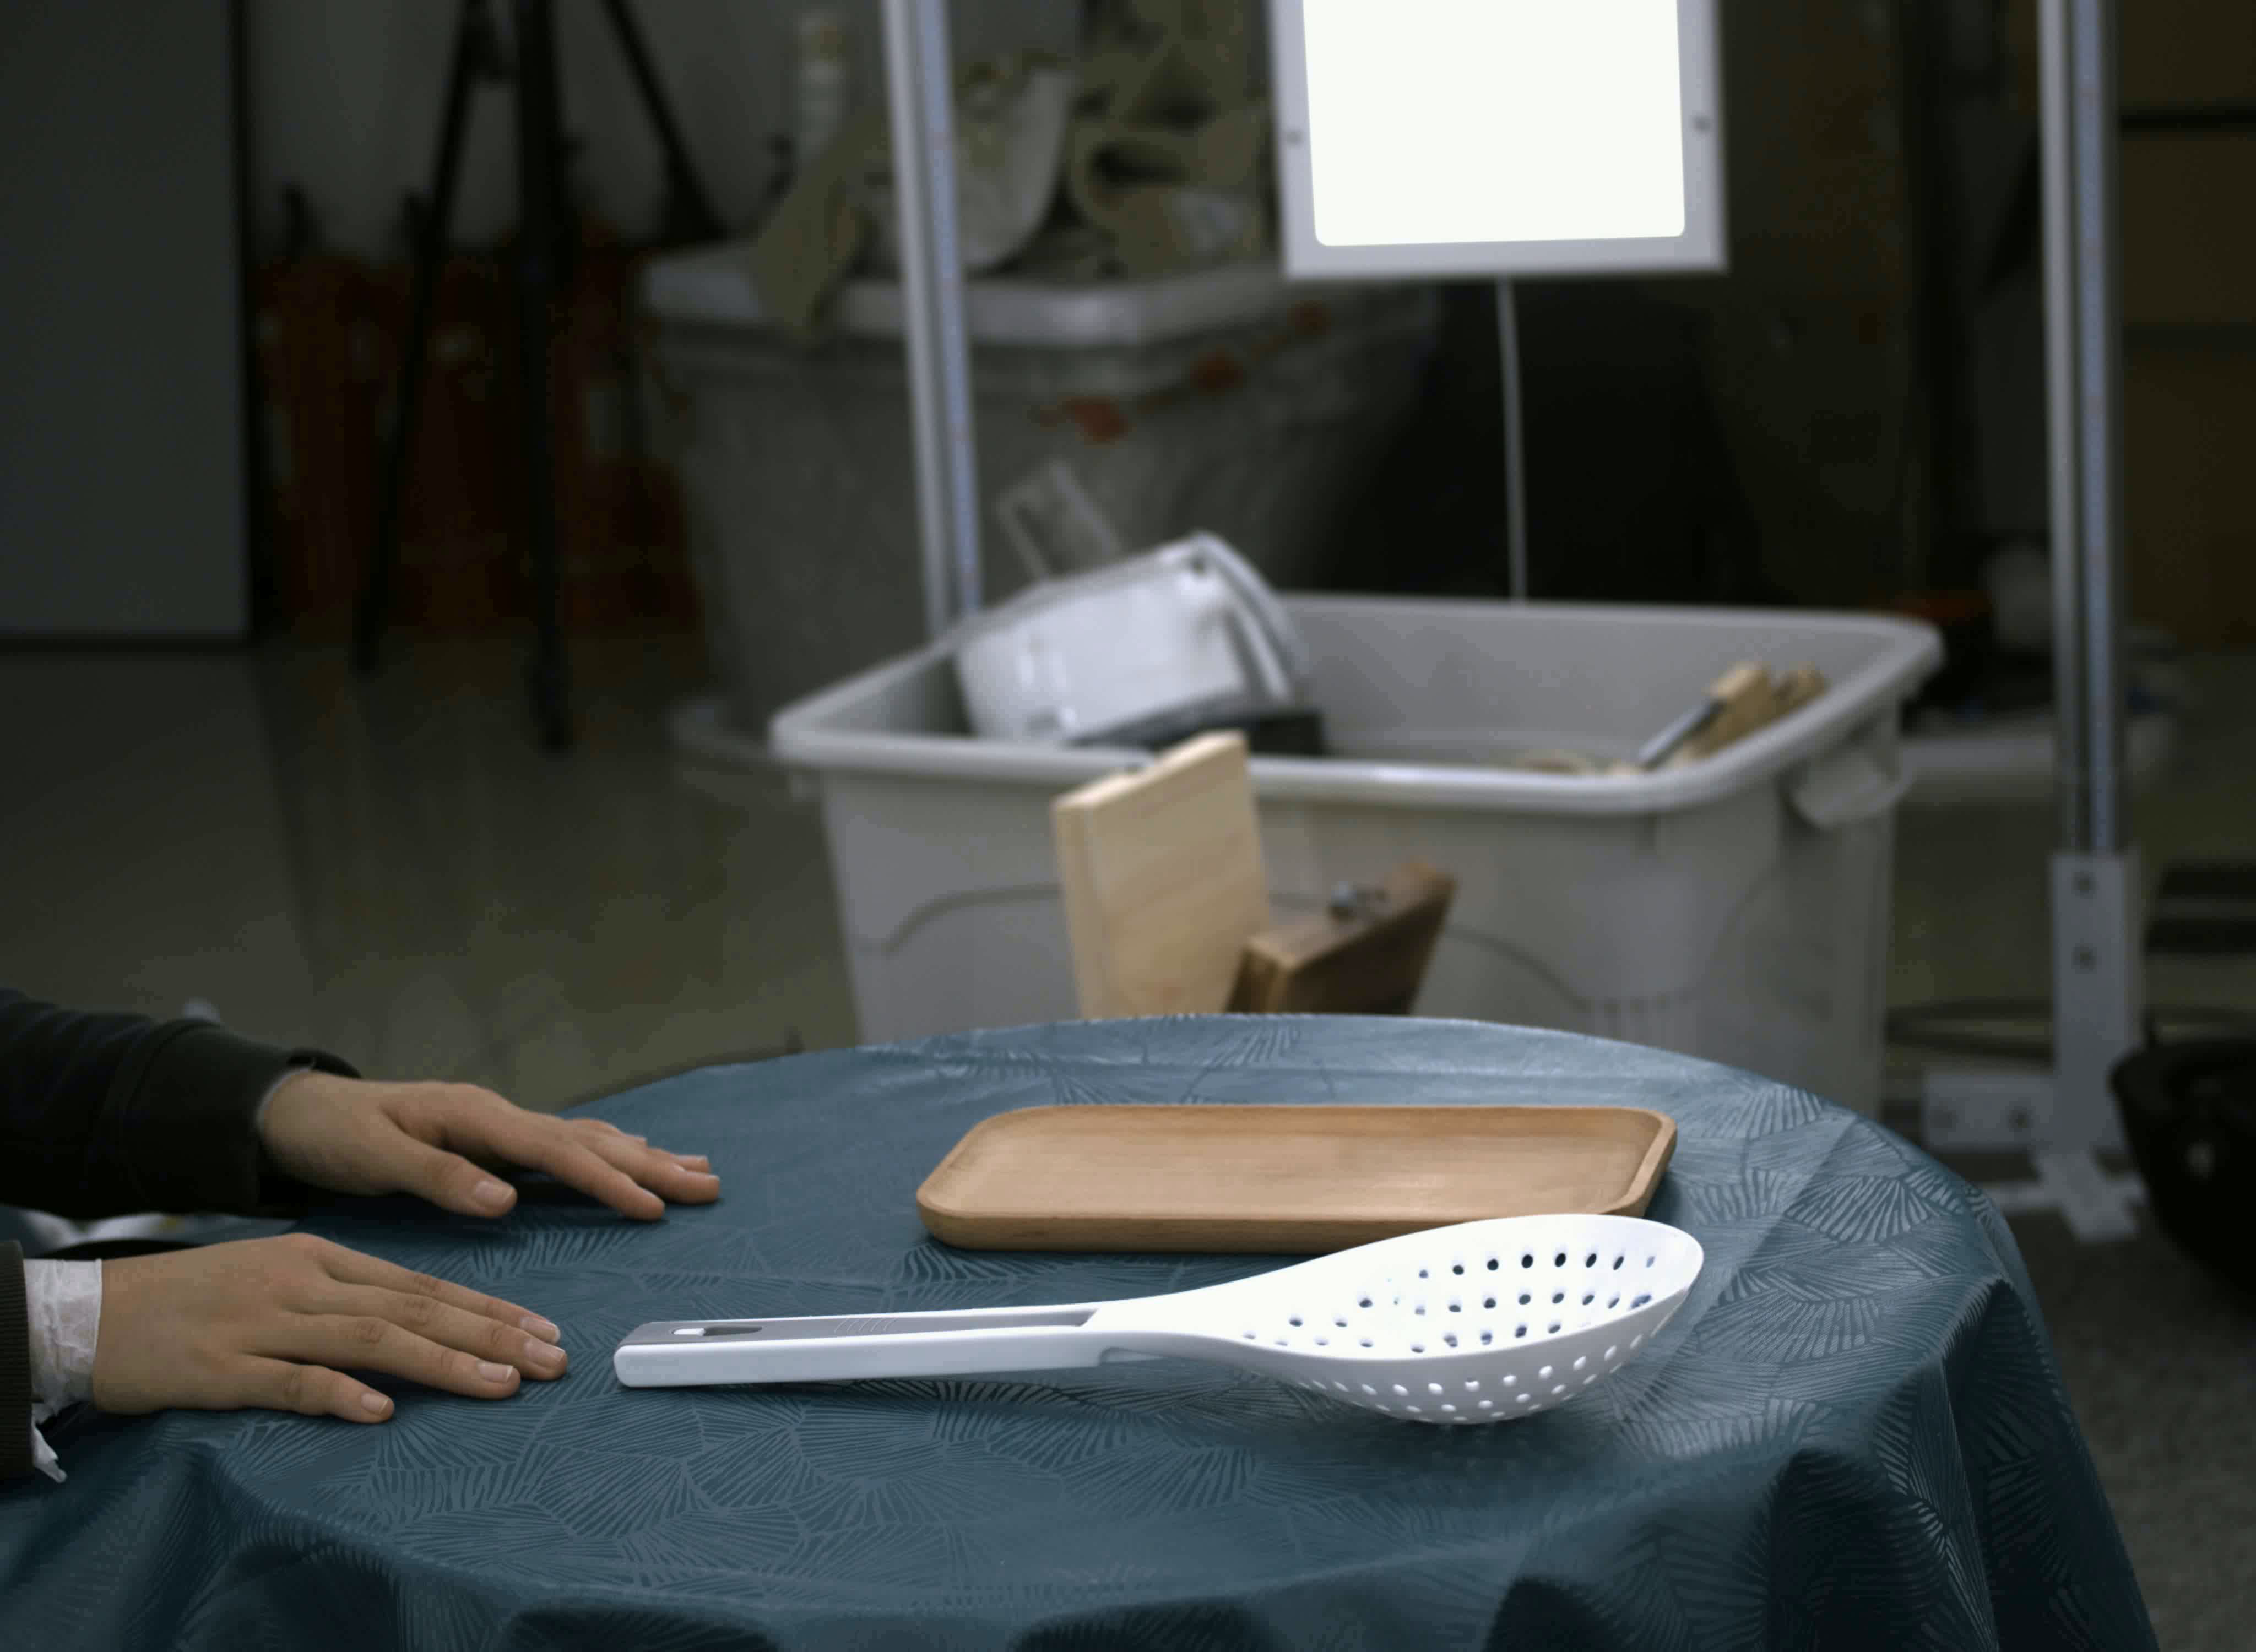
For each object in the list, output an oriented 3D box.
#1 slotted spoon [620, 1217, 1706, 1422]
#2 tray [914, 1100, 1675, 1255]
[{"bbox_3d":[0.006,0.154,1.689,0.354,0.046,0.134,-1,12,20],"label":"slotted spoon"},{"bbox_3d":[0.058,0.119,1.871,0.253,0.023,0.128,-2,12,17],"label":"tray"}]
